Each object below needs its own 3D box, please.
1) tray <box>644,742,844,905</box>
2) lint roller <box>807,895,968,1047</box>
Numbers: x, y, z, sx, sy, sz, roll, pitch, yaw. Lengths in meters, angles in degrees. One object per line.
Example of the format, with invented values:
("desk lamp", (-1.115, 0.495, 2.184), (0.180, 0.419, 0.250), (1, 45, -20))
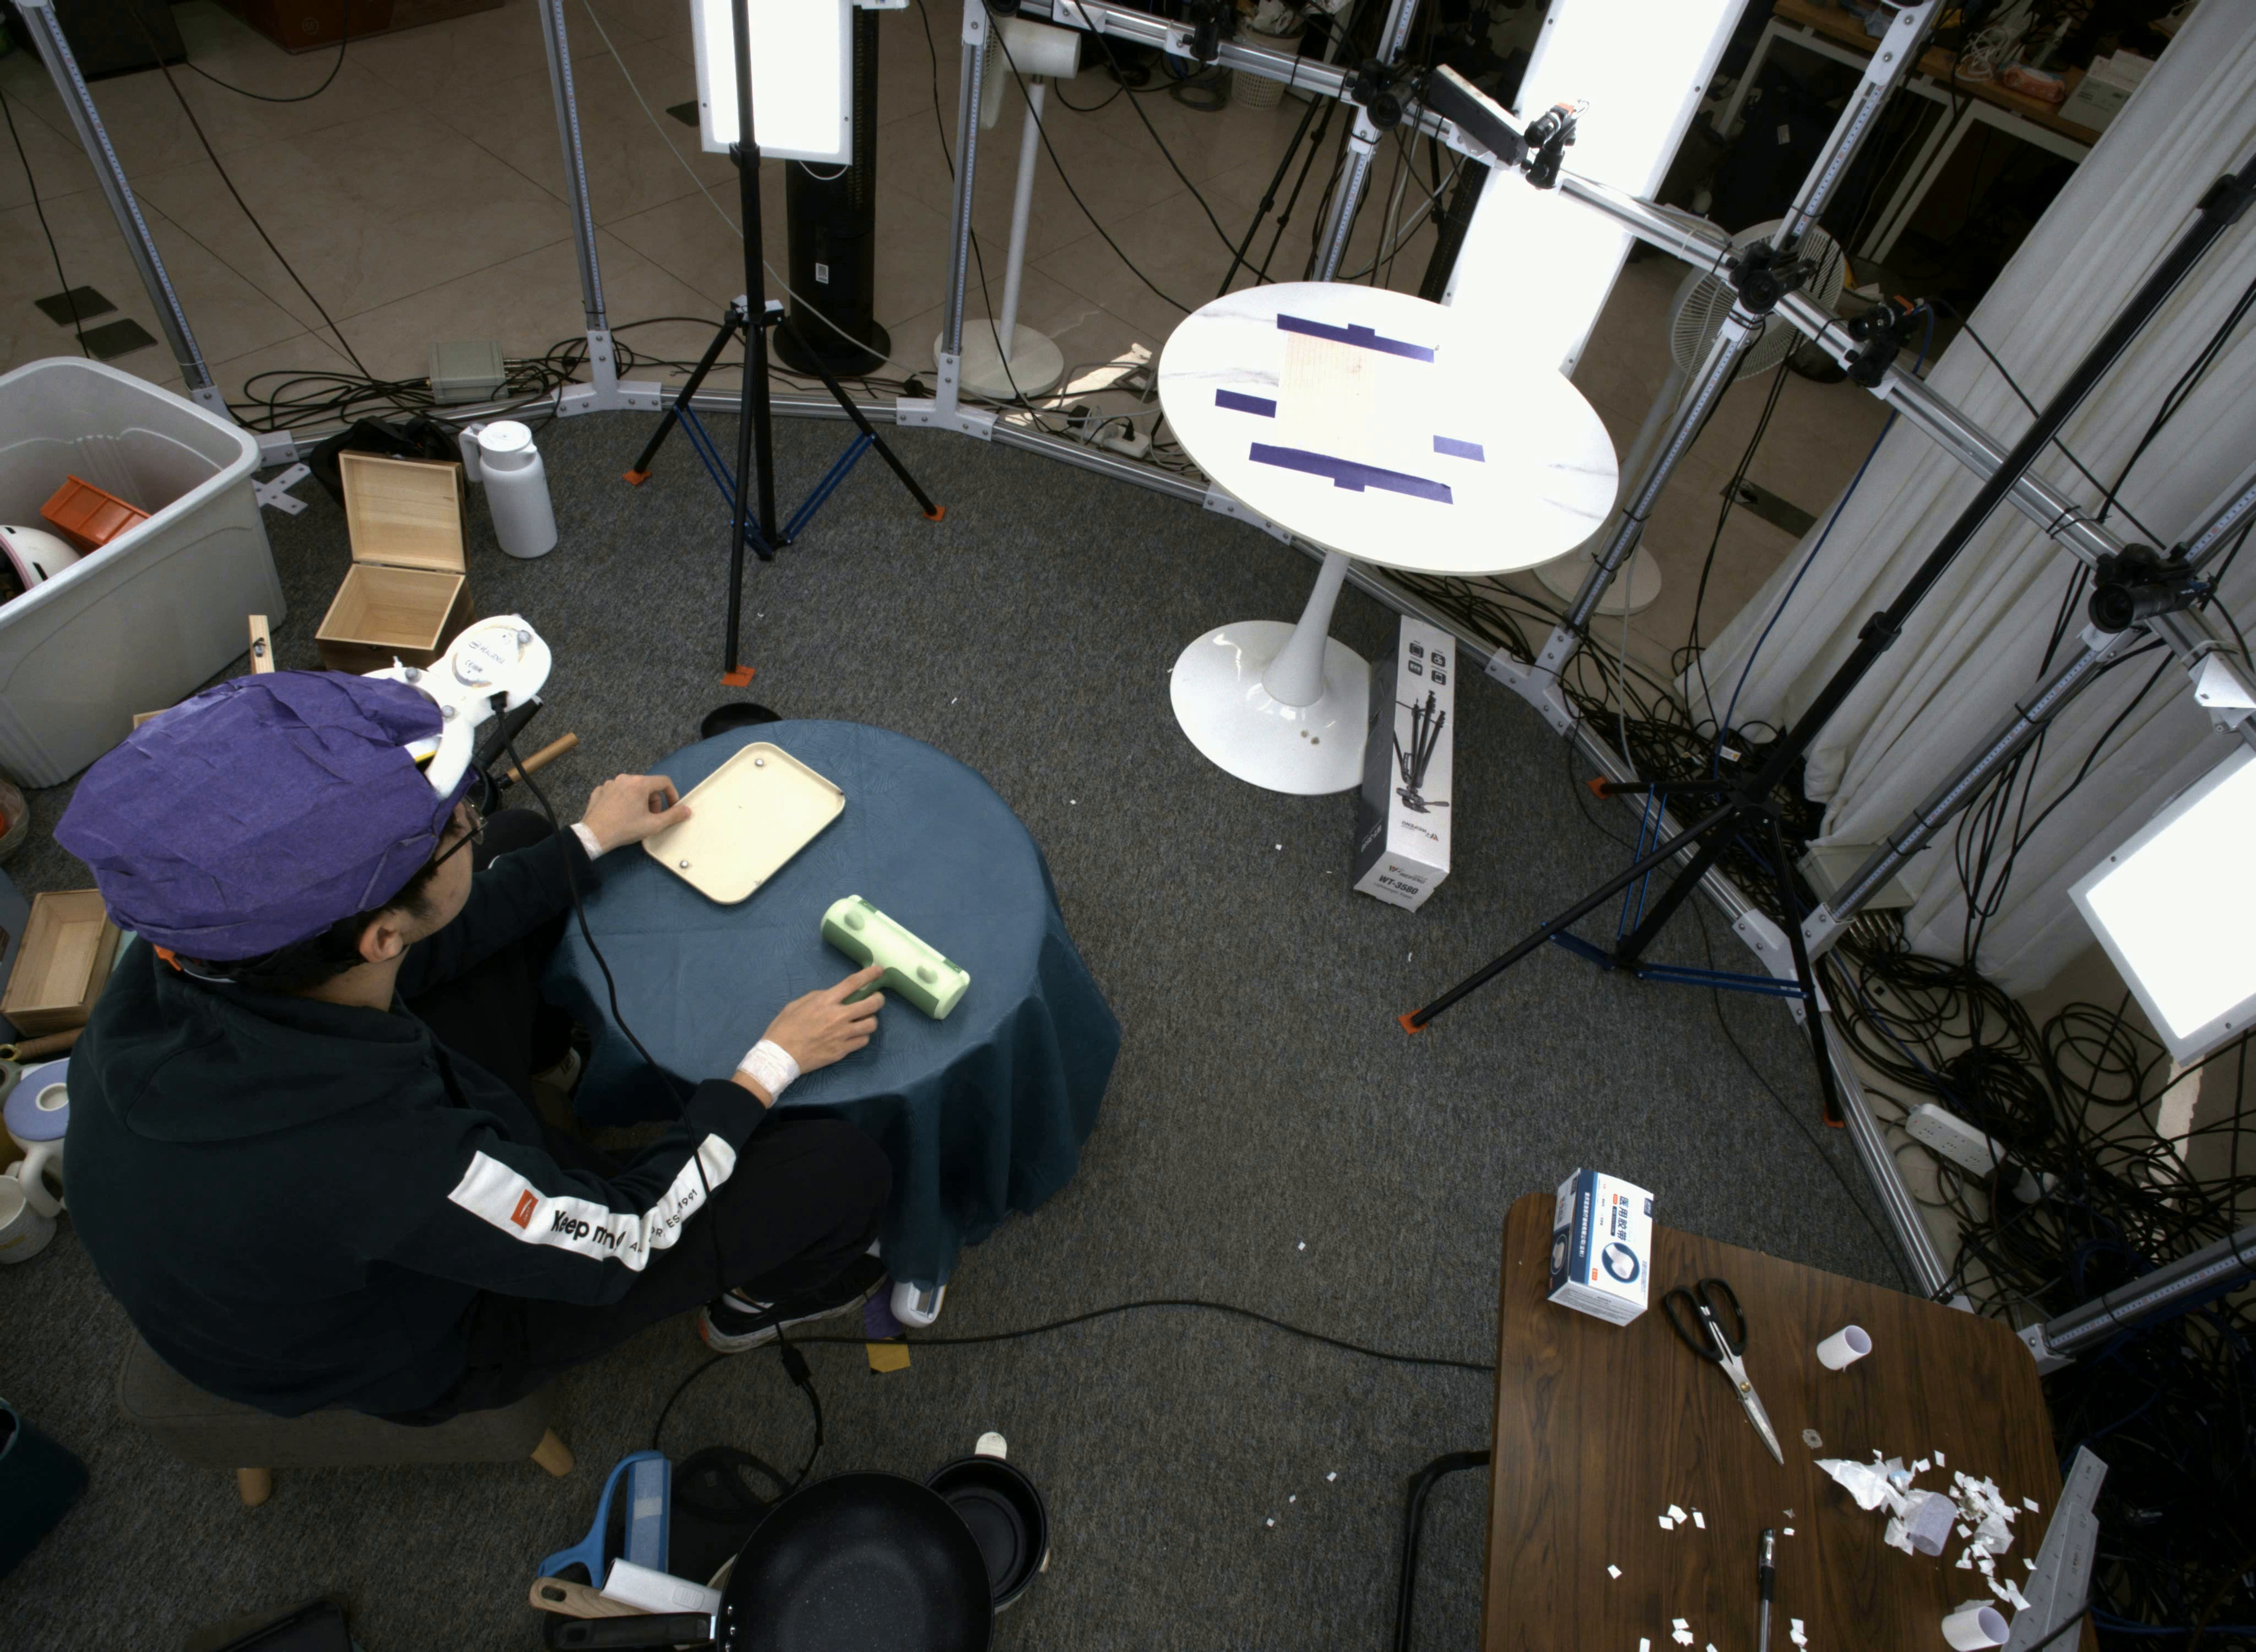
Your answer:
("tray", (-0.503, -0.007, 1.702), (0.168, 0.018, 0.239), (32, 53, 11))
("lint roller", (-0.321, 0.185, 1.571), (0.195, 0.084, 0.183), (34, 49, 12))
